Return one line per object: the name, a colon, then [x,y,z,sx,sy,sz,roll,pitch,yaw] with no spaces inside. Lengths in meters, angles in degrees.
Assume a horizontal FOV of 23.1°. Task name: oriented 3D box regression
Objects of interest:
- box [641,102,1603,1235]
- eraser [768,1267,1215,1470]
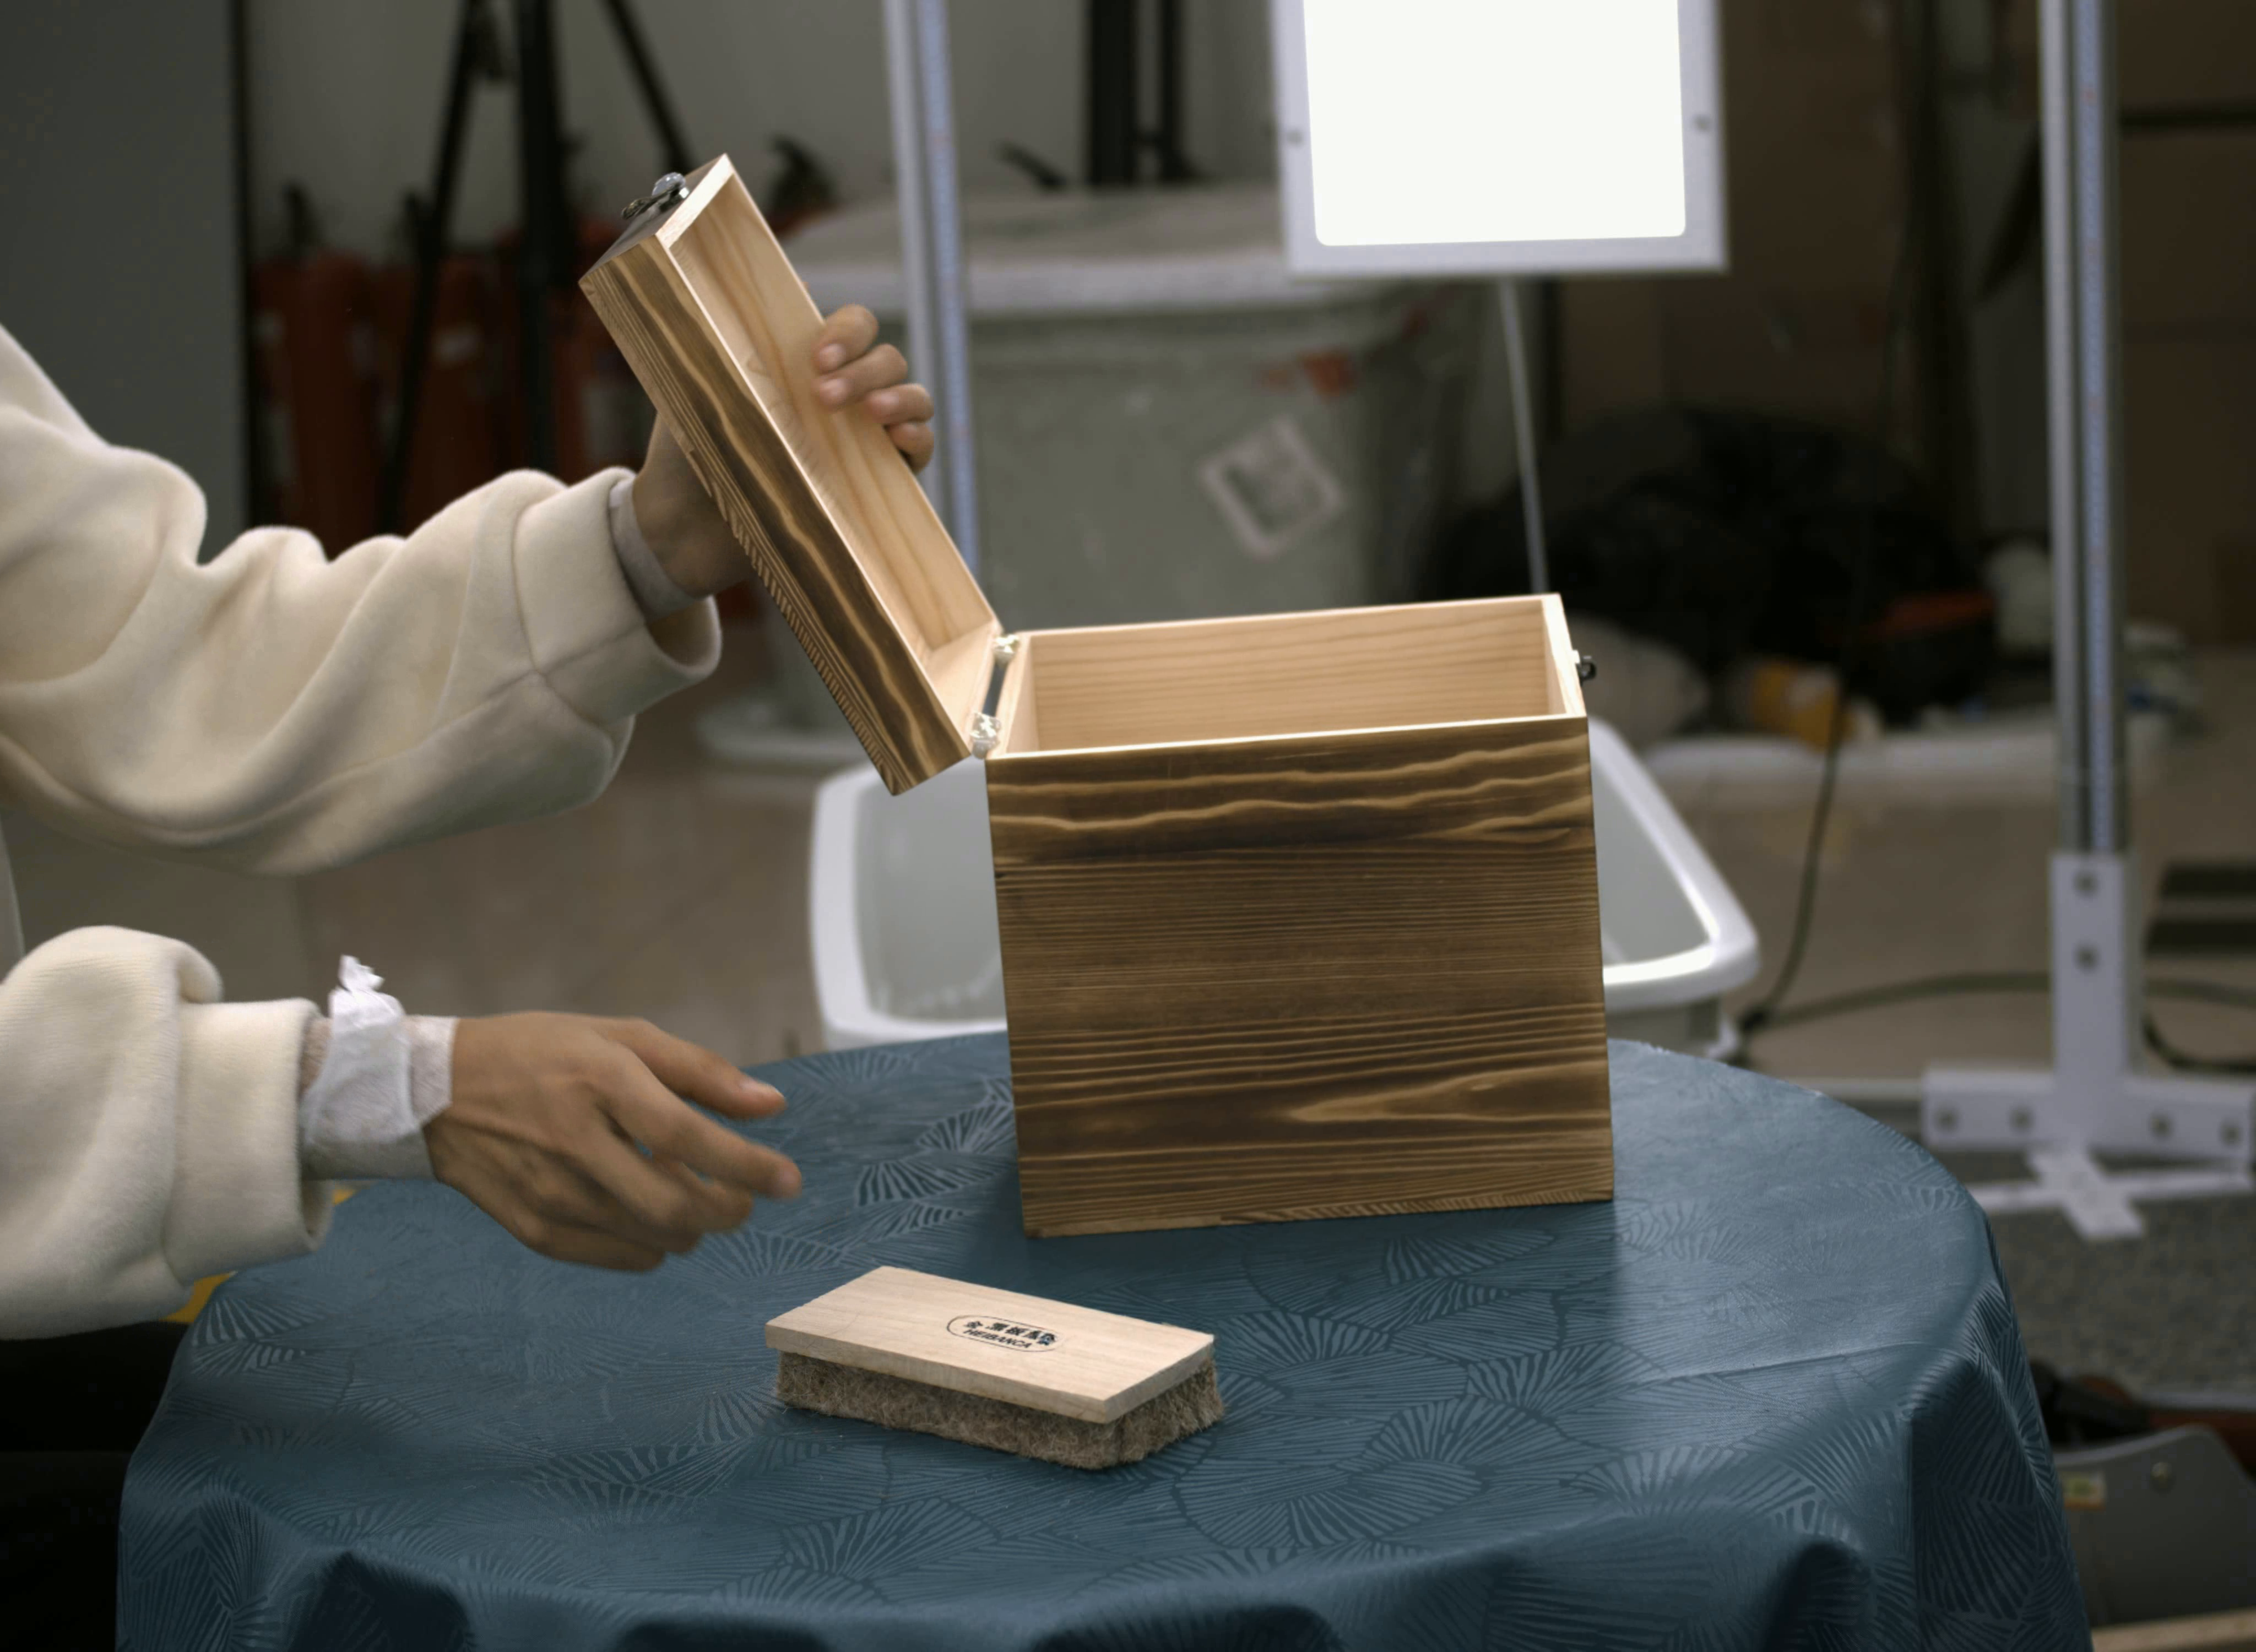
box: [0.003,-0.064,1.902,0.322,0.377,0.208,-3,15,4]
eraser: [-0.042,0.167,1.689,0.142,0.029,0.055,7,20,43]
